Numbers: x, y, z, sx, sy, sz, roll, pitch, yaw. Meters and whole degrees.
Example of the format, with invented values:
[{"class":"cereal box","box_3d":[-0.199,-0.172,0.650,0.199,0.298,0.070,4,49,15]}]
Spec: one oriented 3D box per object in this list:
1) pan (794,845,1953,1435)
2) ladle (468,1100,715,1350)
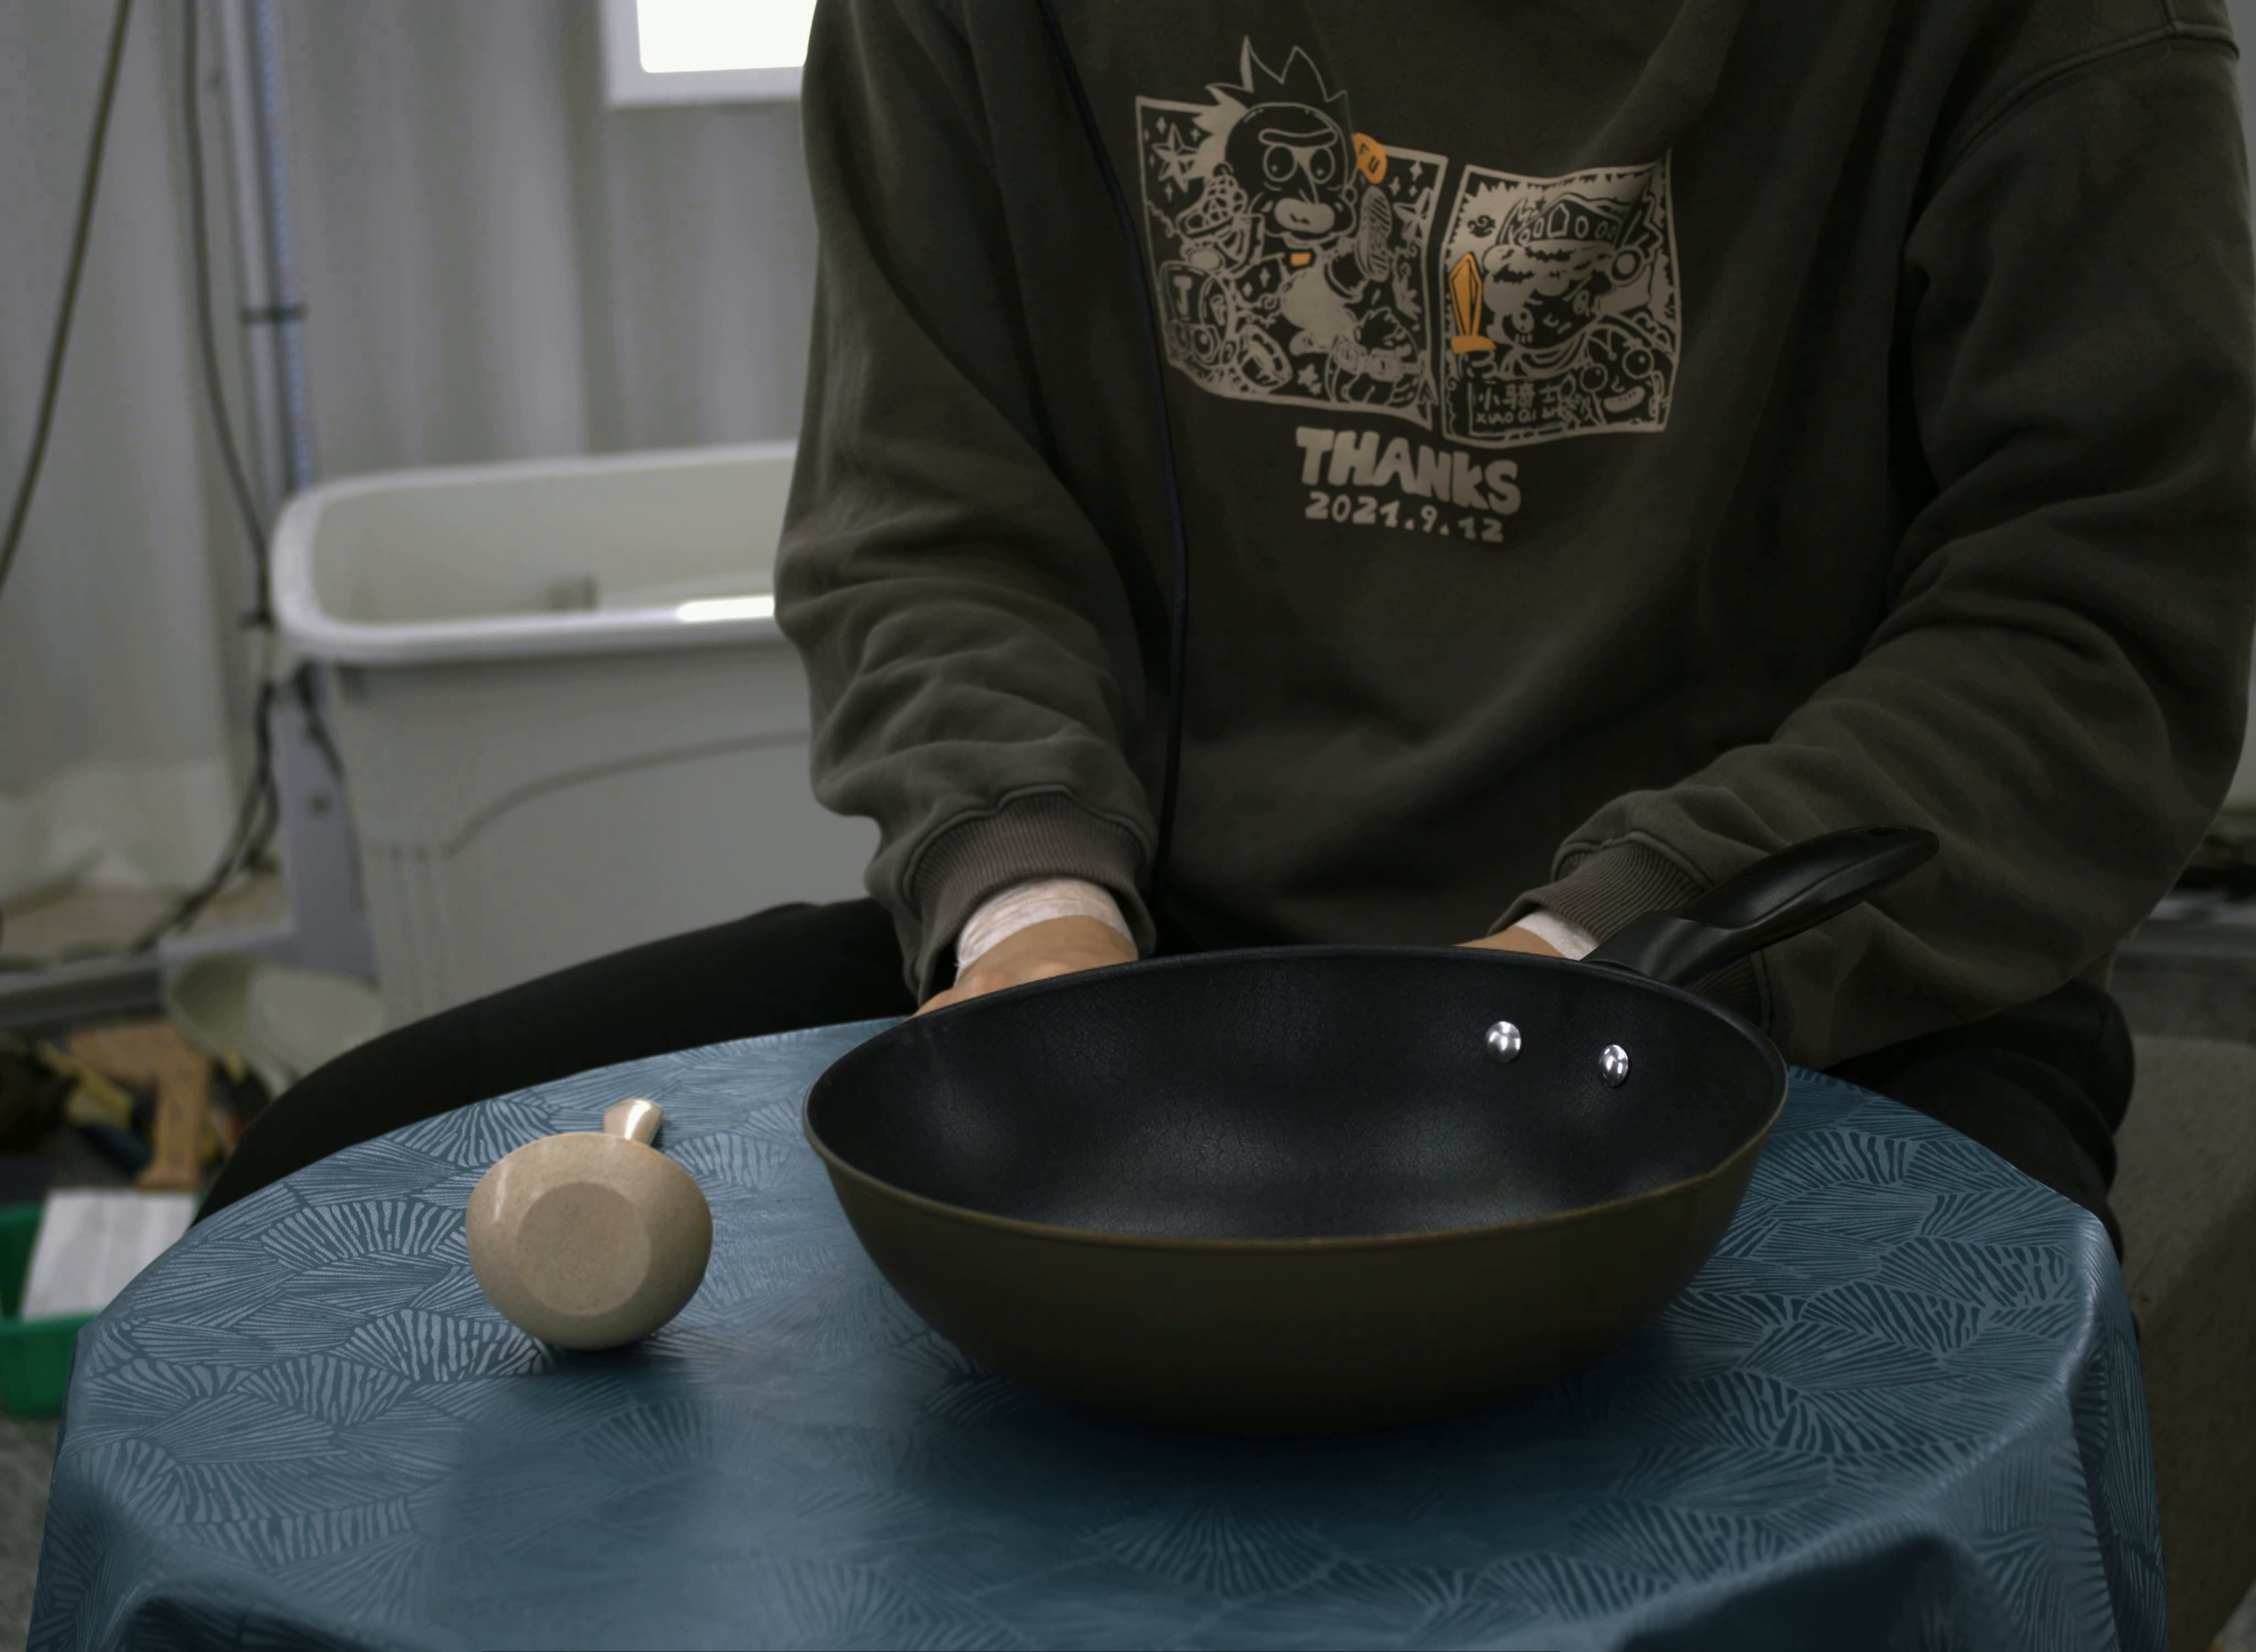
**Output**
[{"class":"pan","box_3d":[0.105,0.090,1.635,0.289,0.086,0.462,10,19,40]},{"class":"ladle","box_3d":[-0.165,0.094,1.695,0.072,0.072,0.256,-9,15,-2]}]
